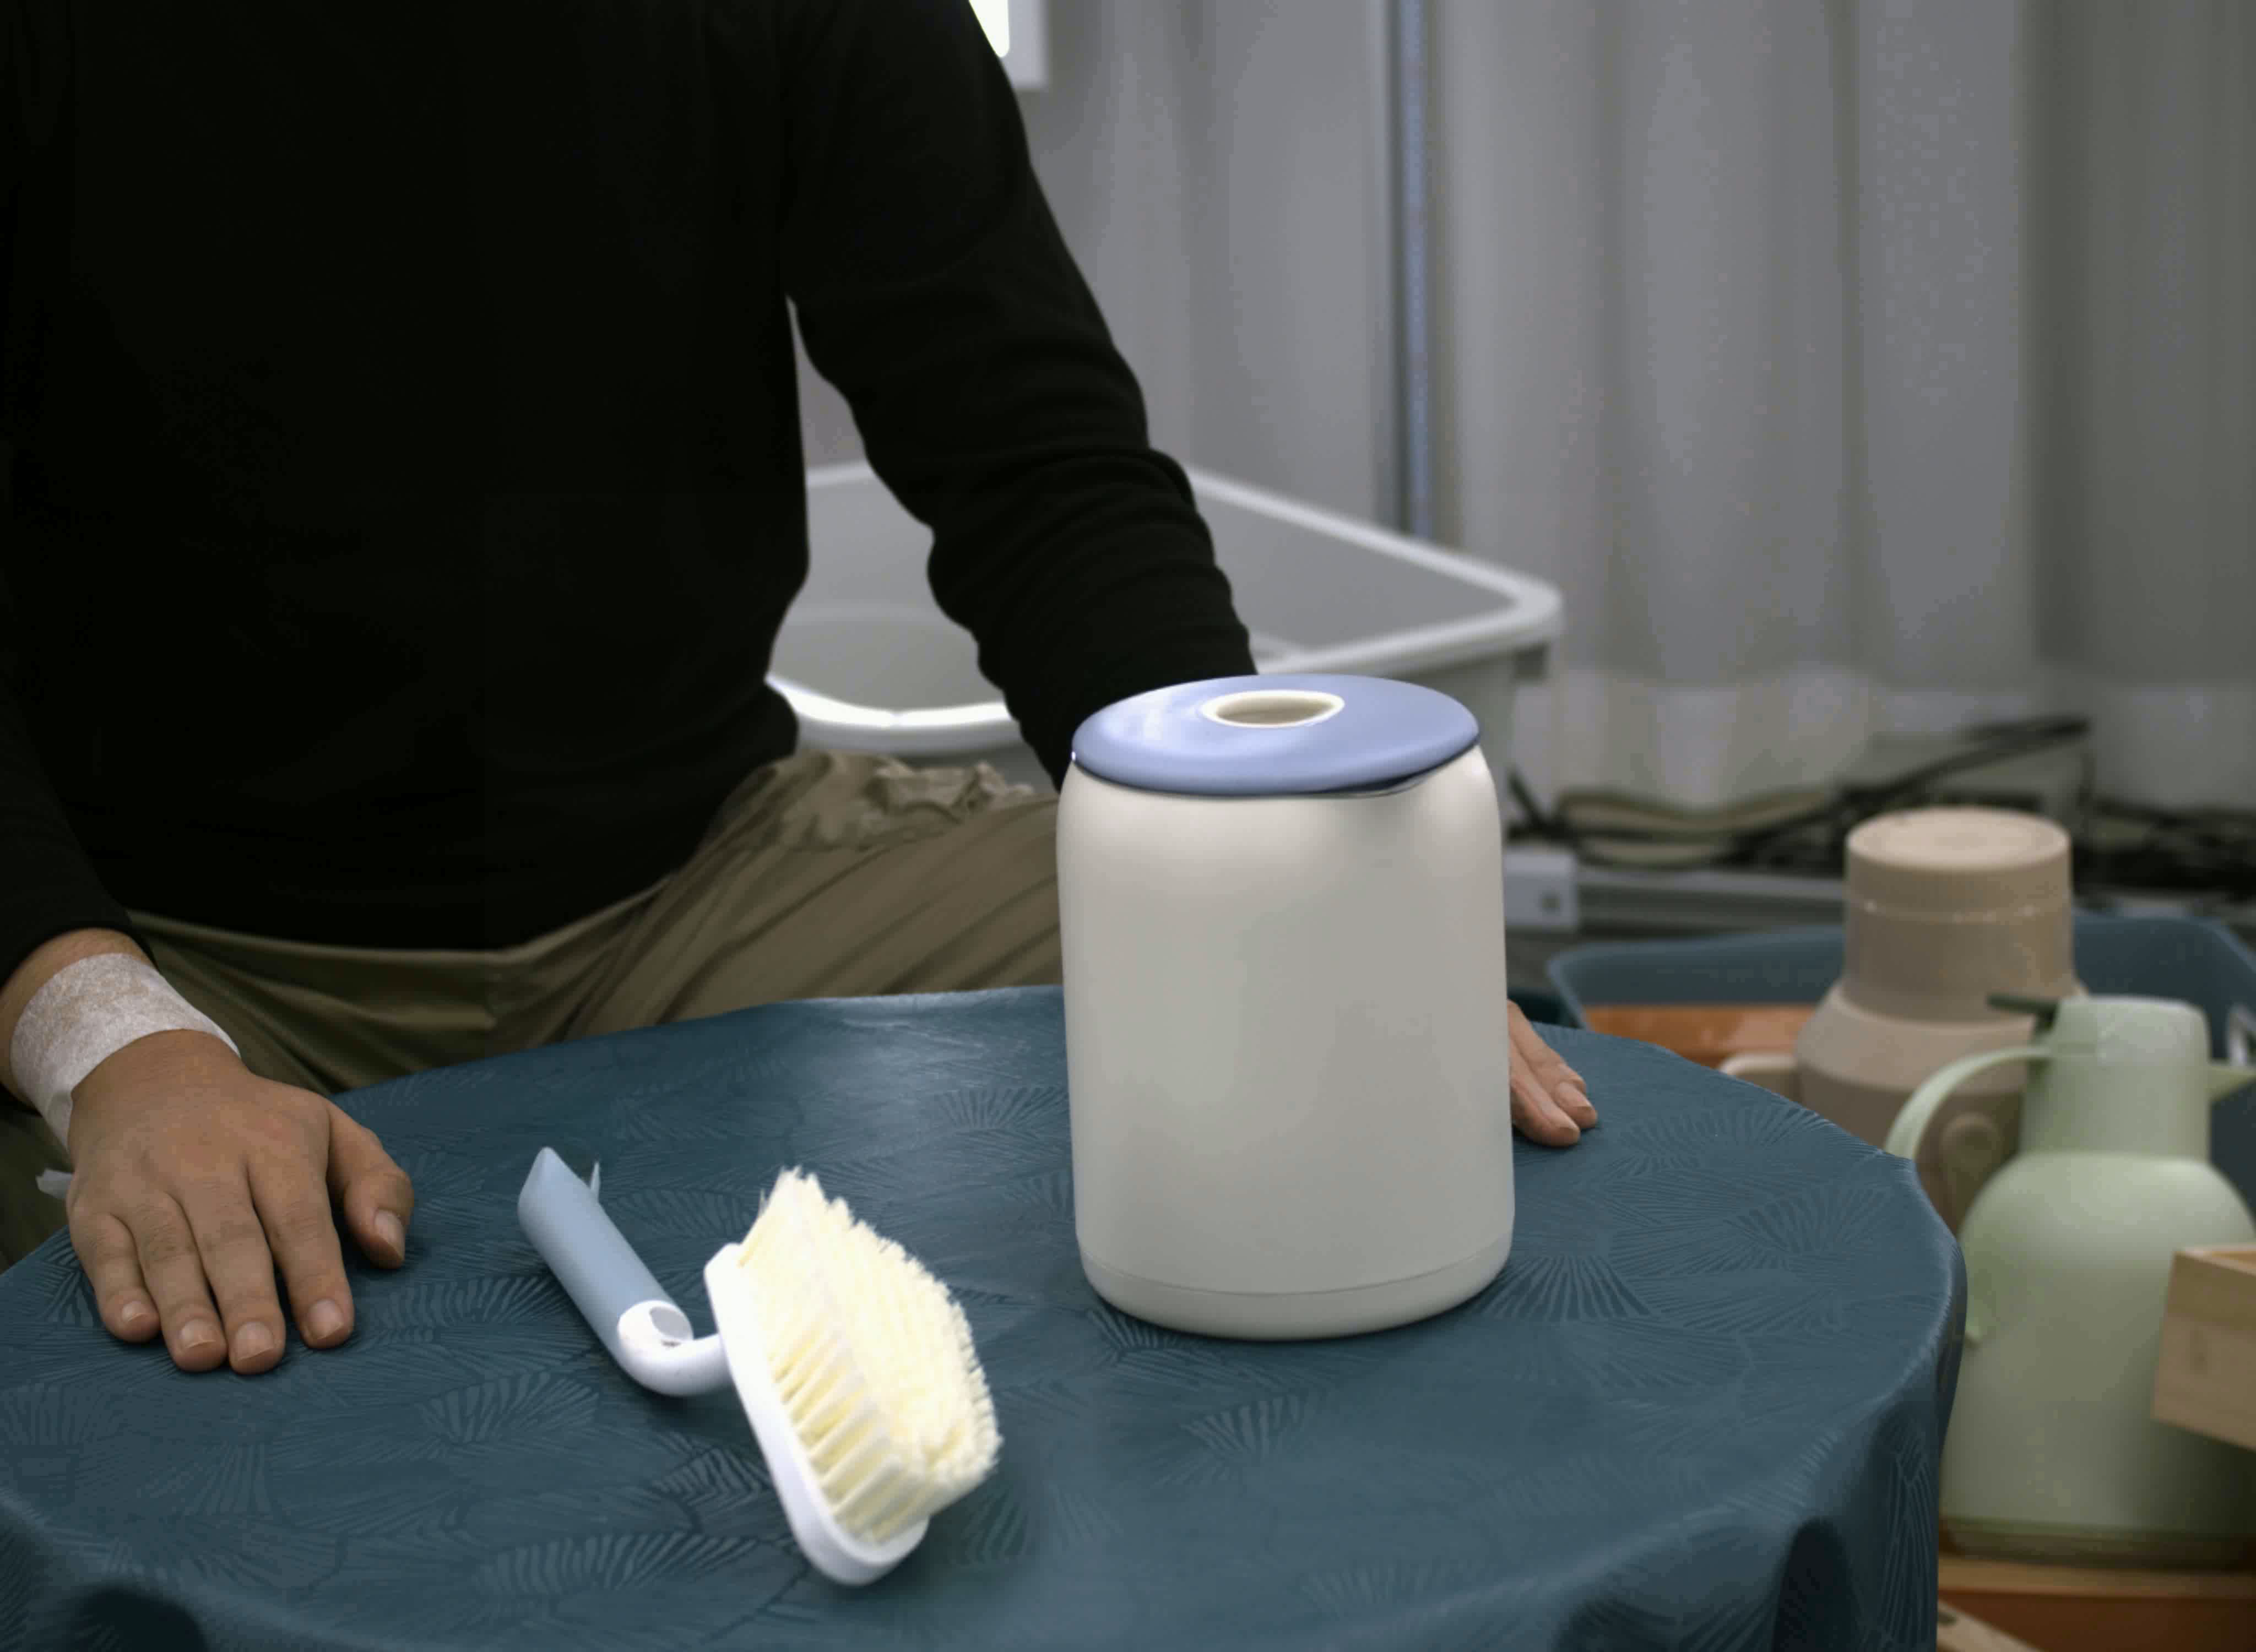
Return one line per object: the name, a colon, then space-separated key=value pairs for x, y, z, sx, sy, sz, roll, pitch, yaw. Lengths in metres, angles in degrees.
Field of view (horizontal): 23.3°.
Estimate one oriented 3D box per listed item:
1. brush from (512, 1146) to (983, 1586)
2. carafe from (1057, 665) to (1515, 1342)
brush: x=-0.108 y=0.122 z=1.551 sx=0.084 sy=0.082 sz=0.328 roll=-13 pitch=18 yaw=-15
carafe: x=0.035 y=0.046 z=1.633 sx=0.131 sy=0.182 sz=0.192 roll=-10 pitch=15 yaw=-27
